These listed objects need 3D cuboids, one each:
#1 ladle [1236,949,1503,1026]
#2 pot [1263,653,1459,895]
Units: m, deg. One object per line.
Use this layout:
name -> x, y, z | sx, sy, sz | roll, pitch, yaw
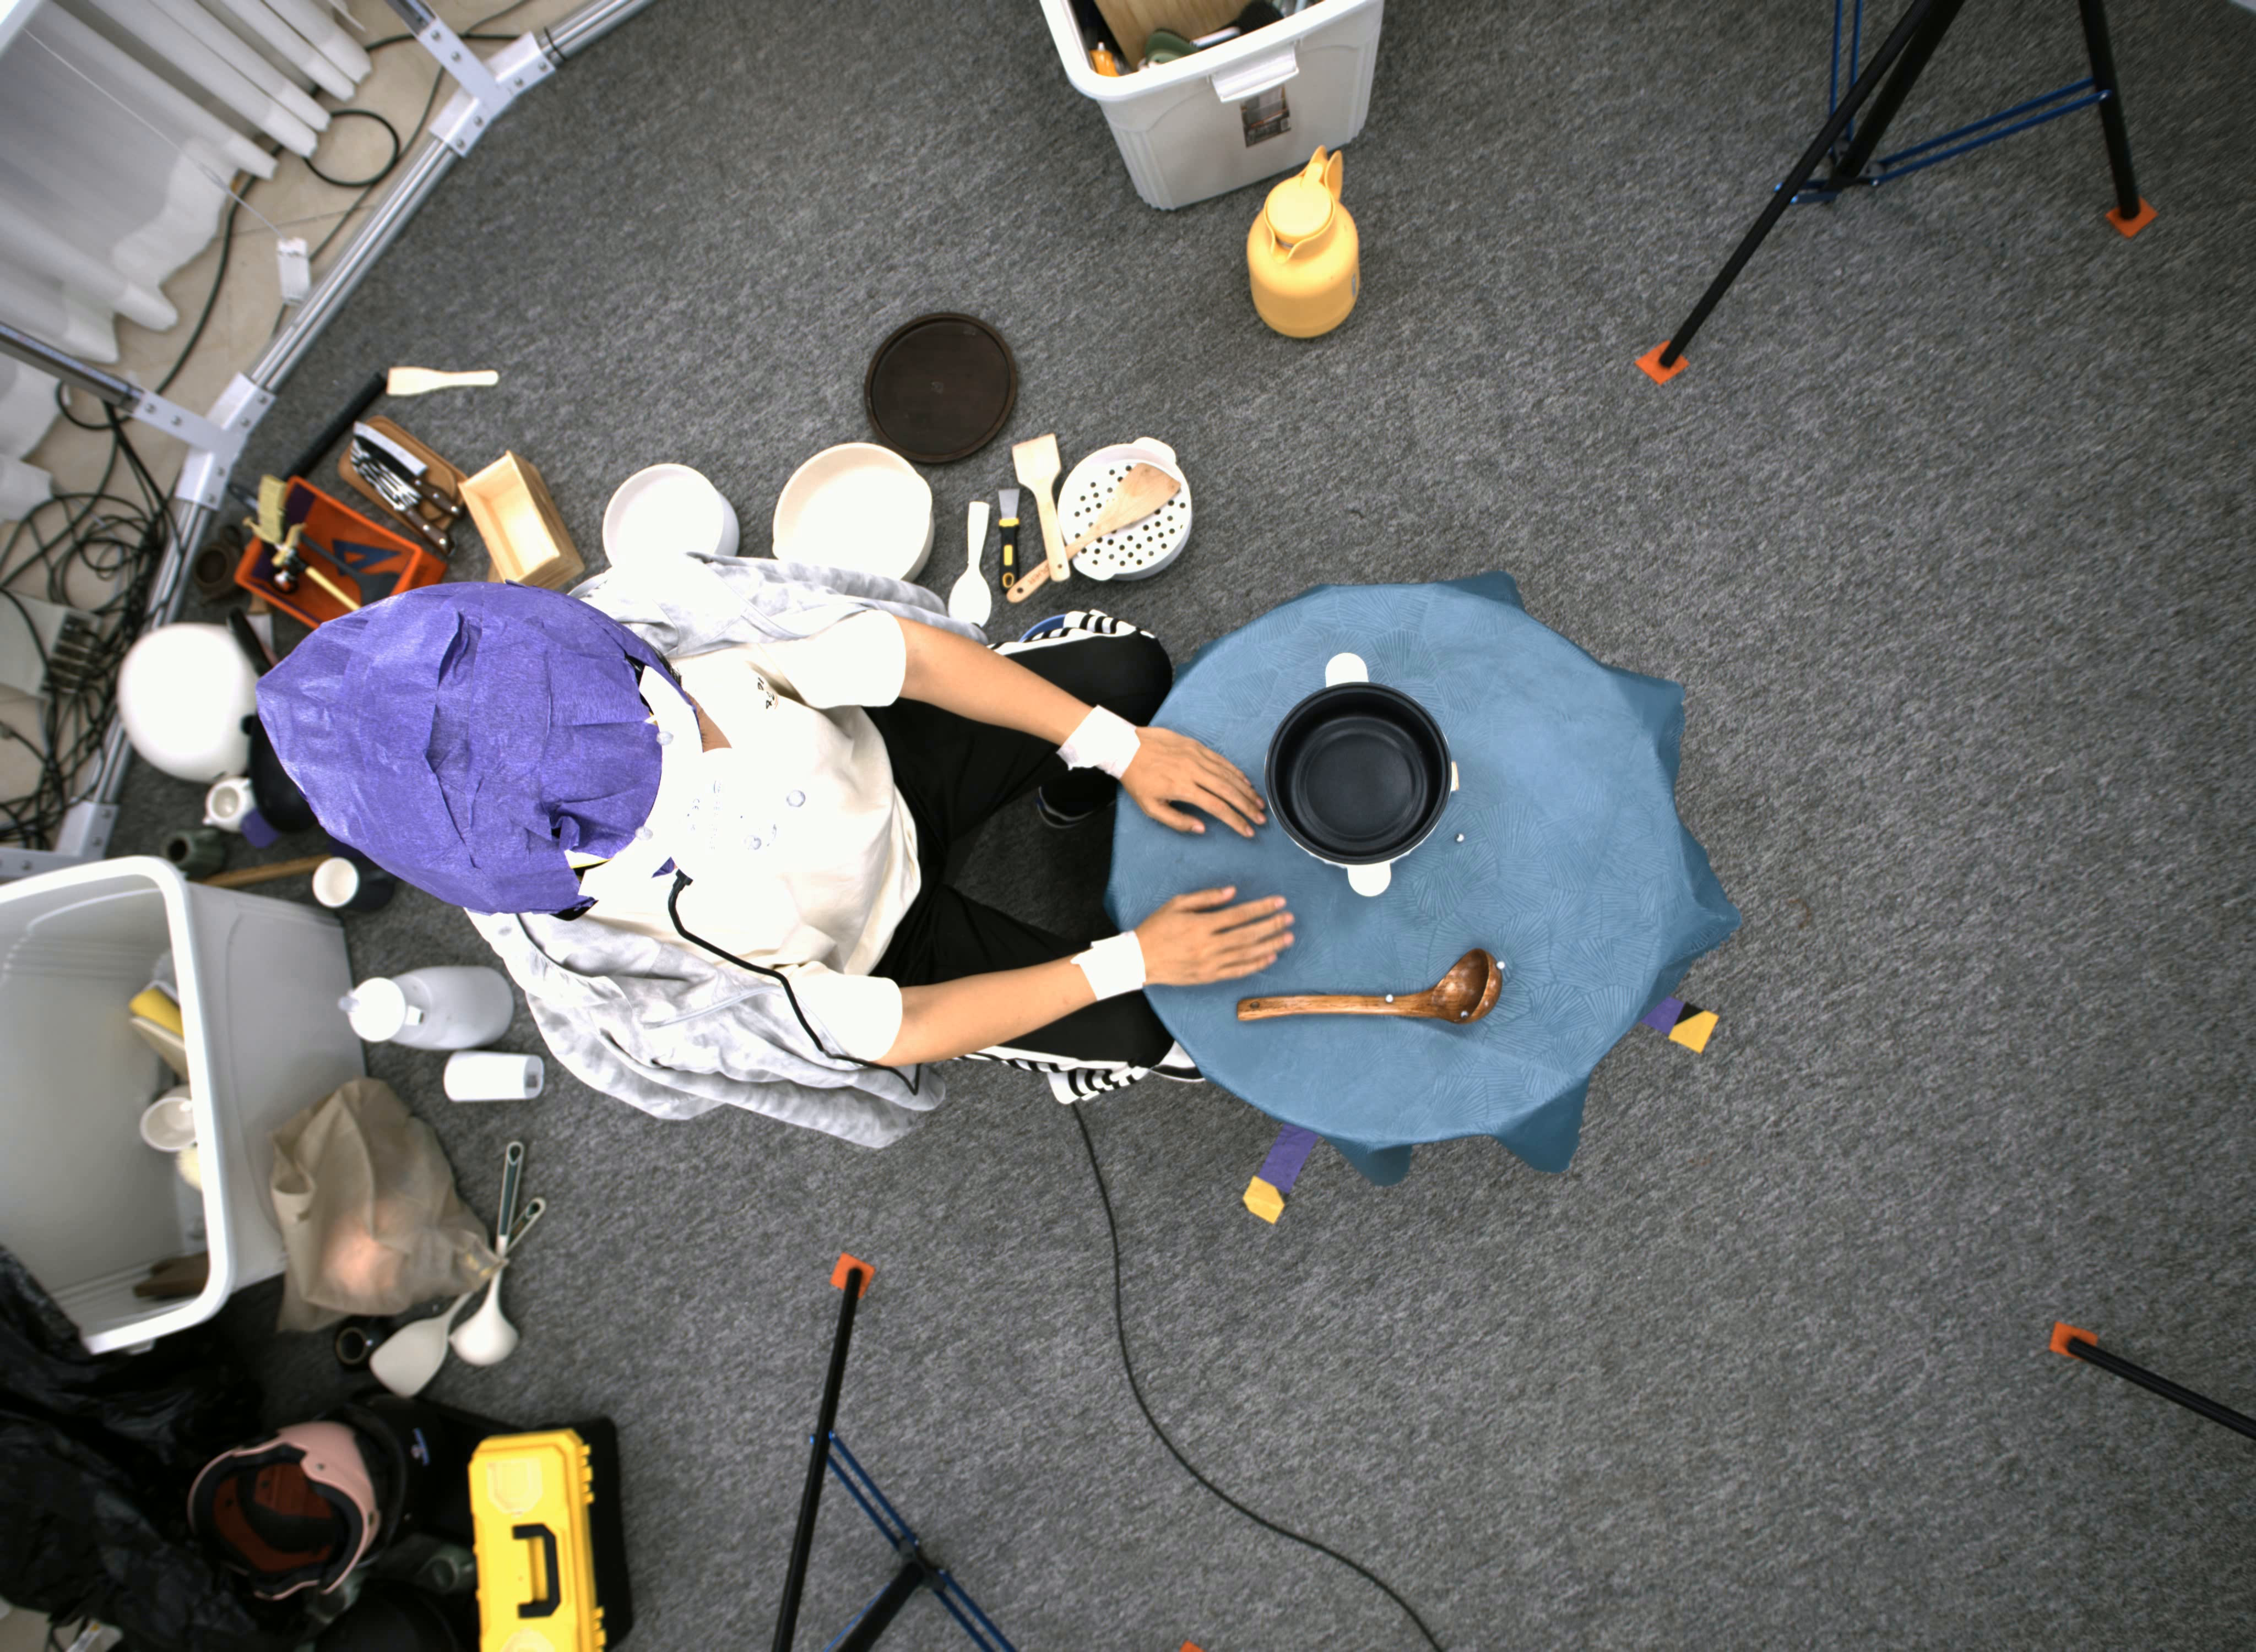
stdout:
ladle -> 0.245, 0.165, 1.425 | 0.275, 0.079, 0.078 | 0, 130, 13
pot -> 0.239, -0.049, 1.400 | 0.191, 0.142, 0.239 | -7, 86, 13
